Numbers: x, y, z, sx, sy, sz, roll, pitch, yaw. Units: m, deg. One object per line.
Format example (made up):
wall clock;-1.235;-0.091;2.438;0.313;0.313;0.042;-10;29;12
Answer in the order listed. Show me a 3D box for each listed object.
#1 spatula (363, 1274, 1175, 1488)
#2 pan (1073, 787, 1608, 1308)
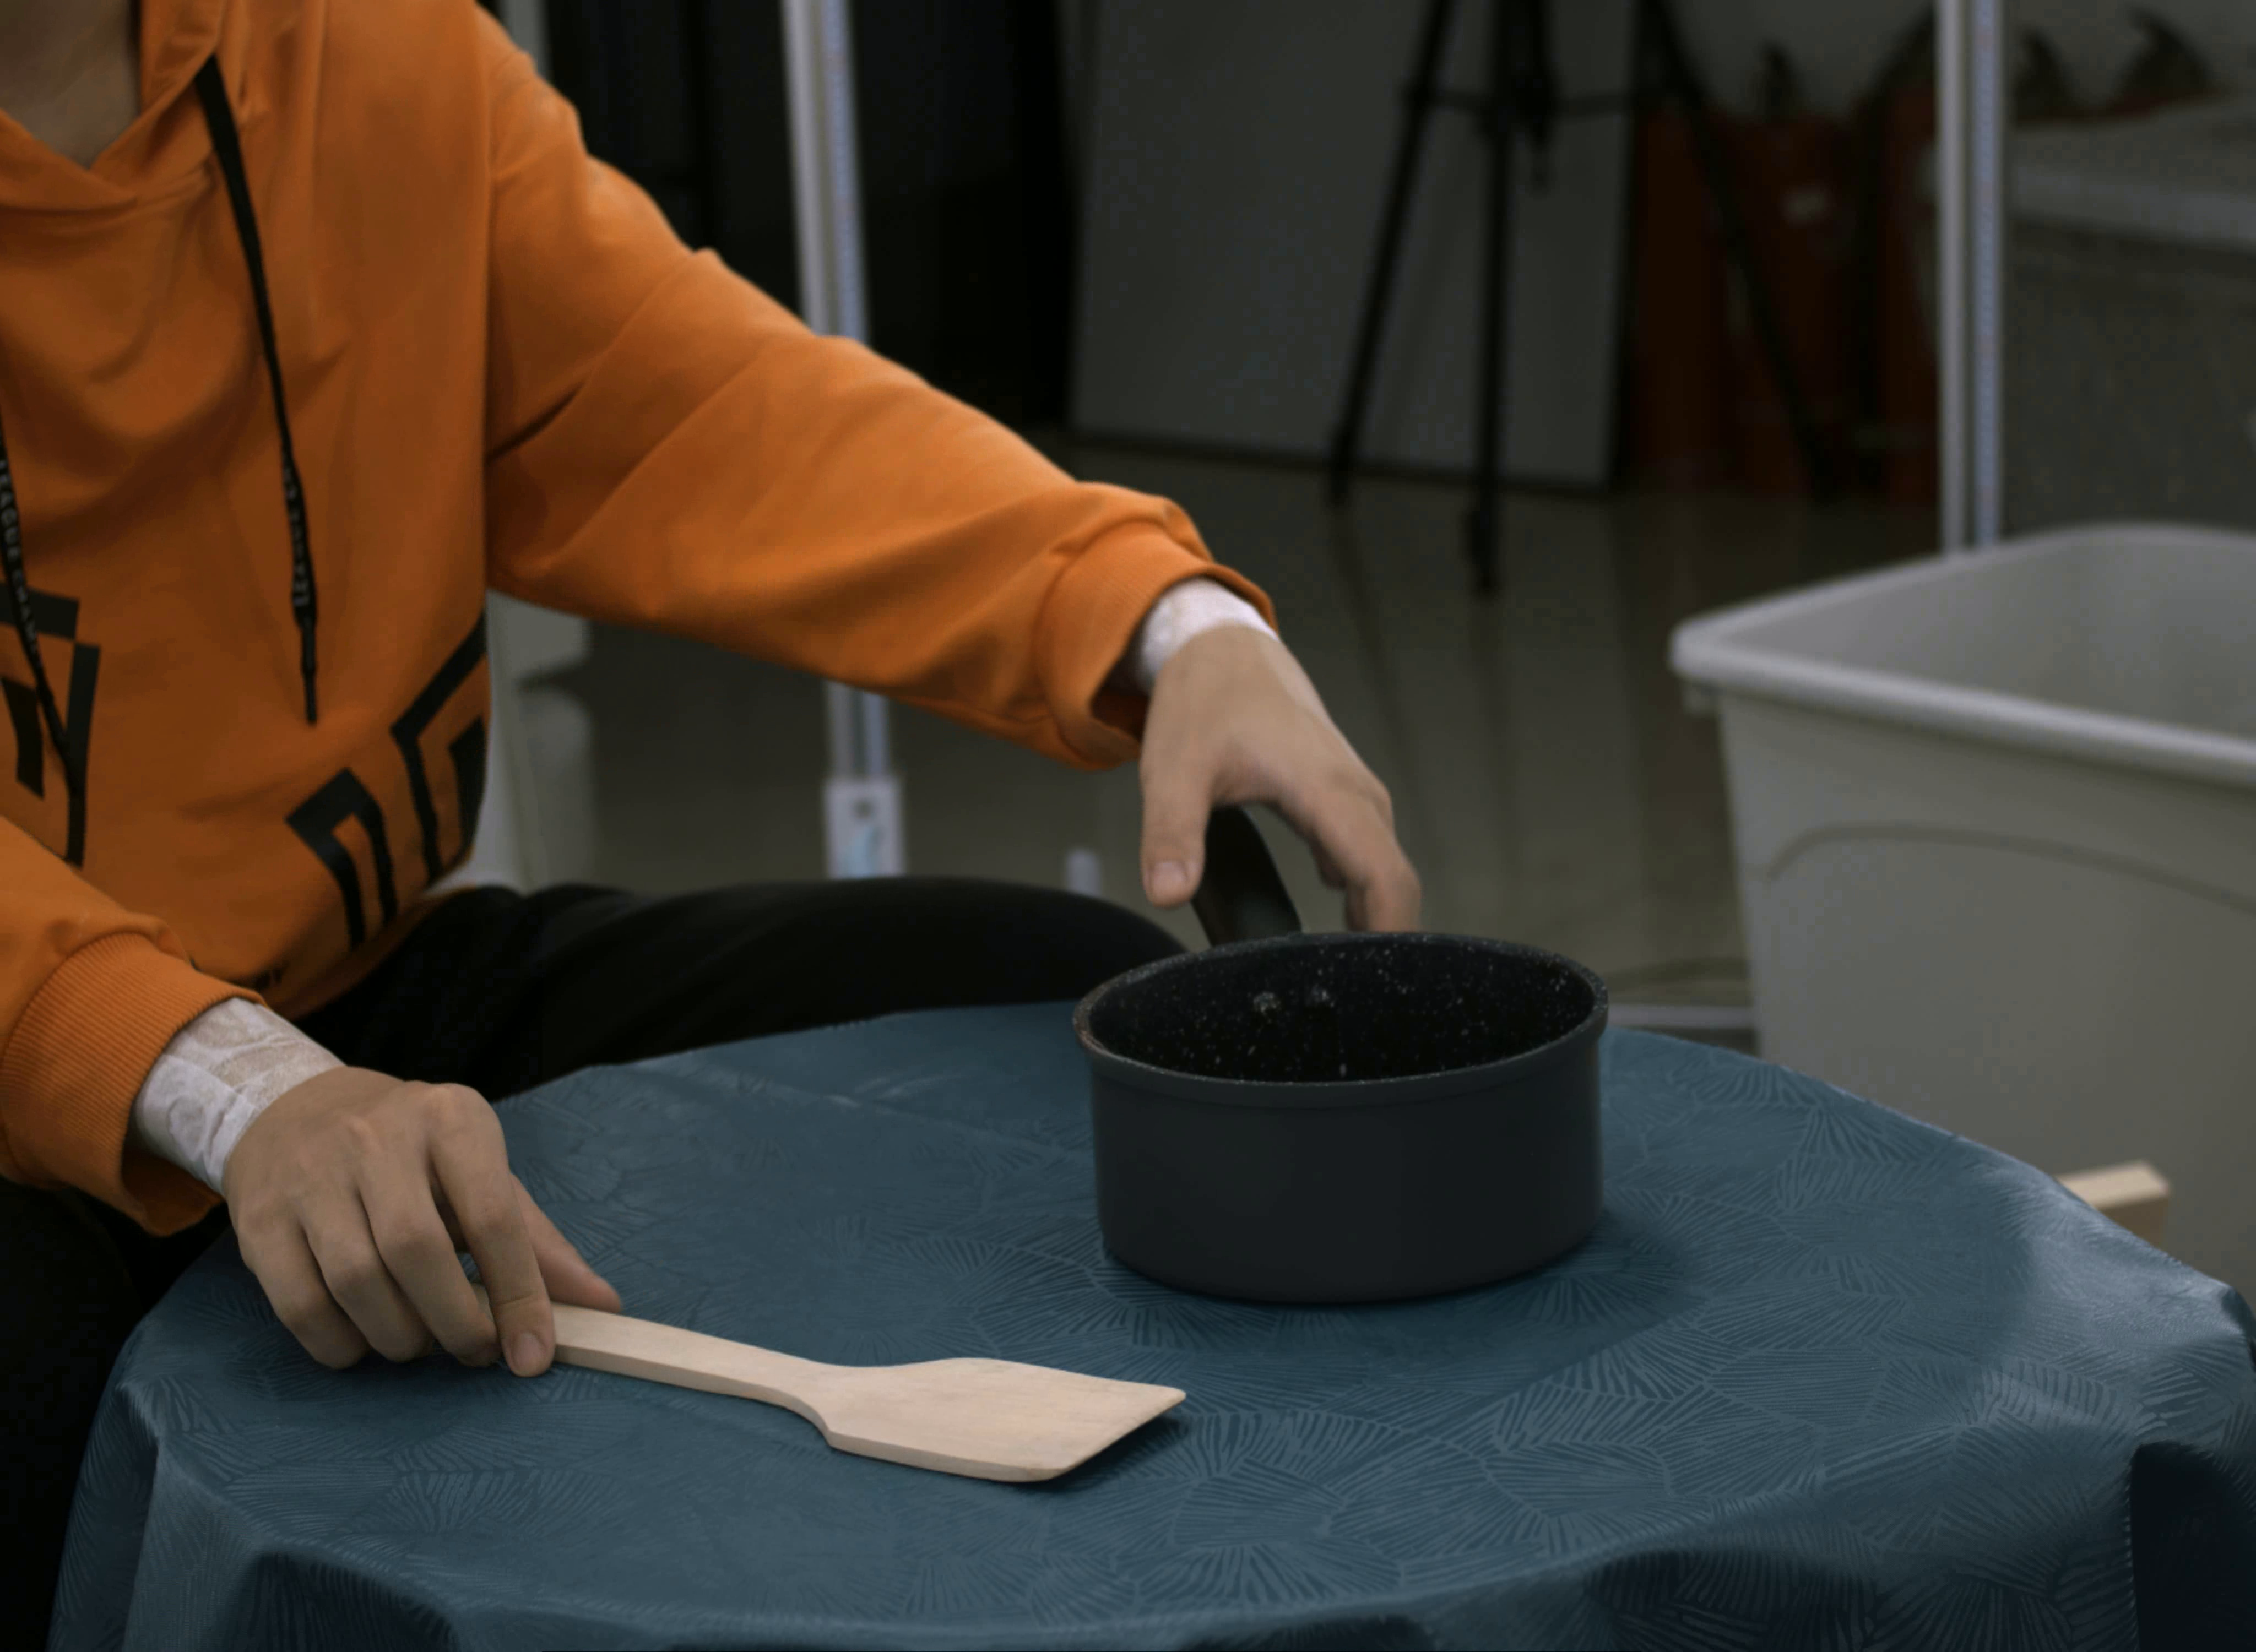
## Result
spatula;-0.120;0.163;1.619;0.295;0.011;0.071;7;21;37
pan;0.059;0.069;1.785;0.169;0.087;0.330;-5;15;-6
